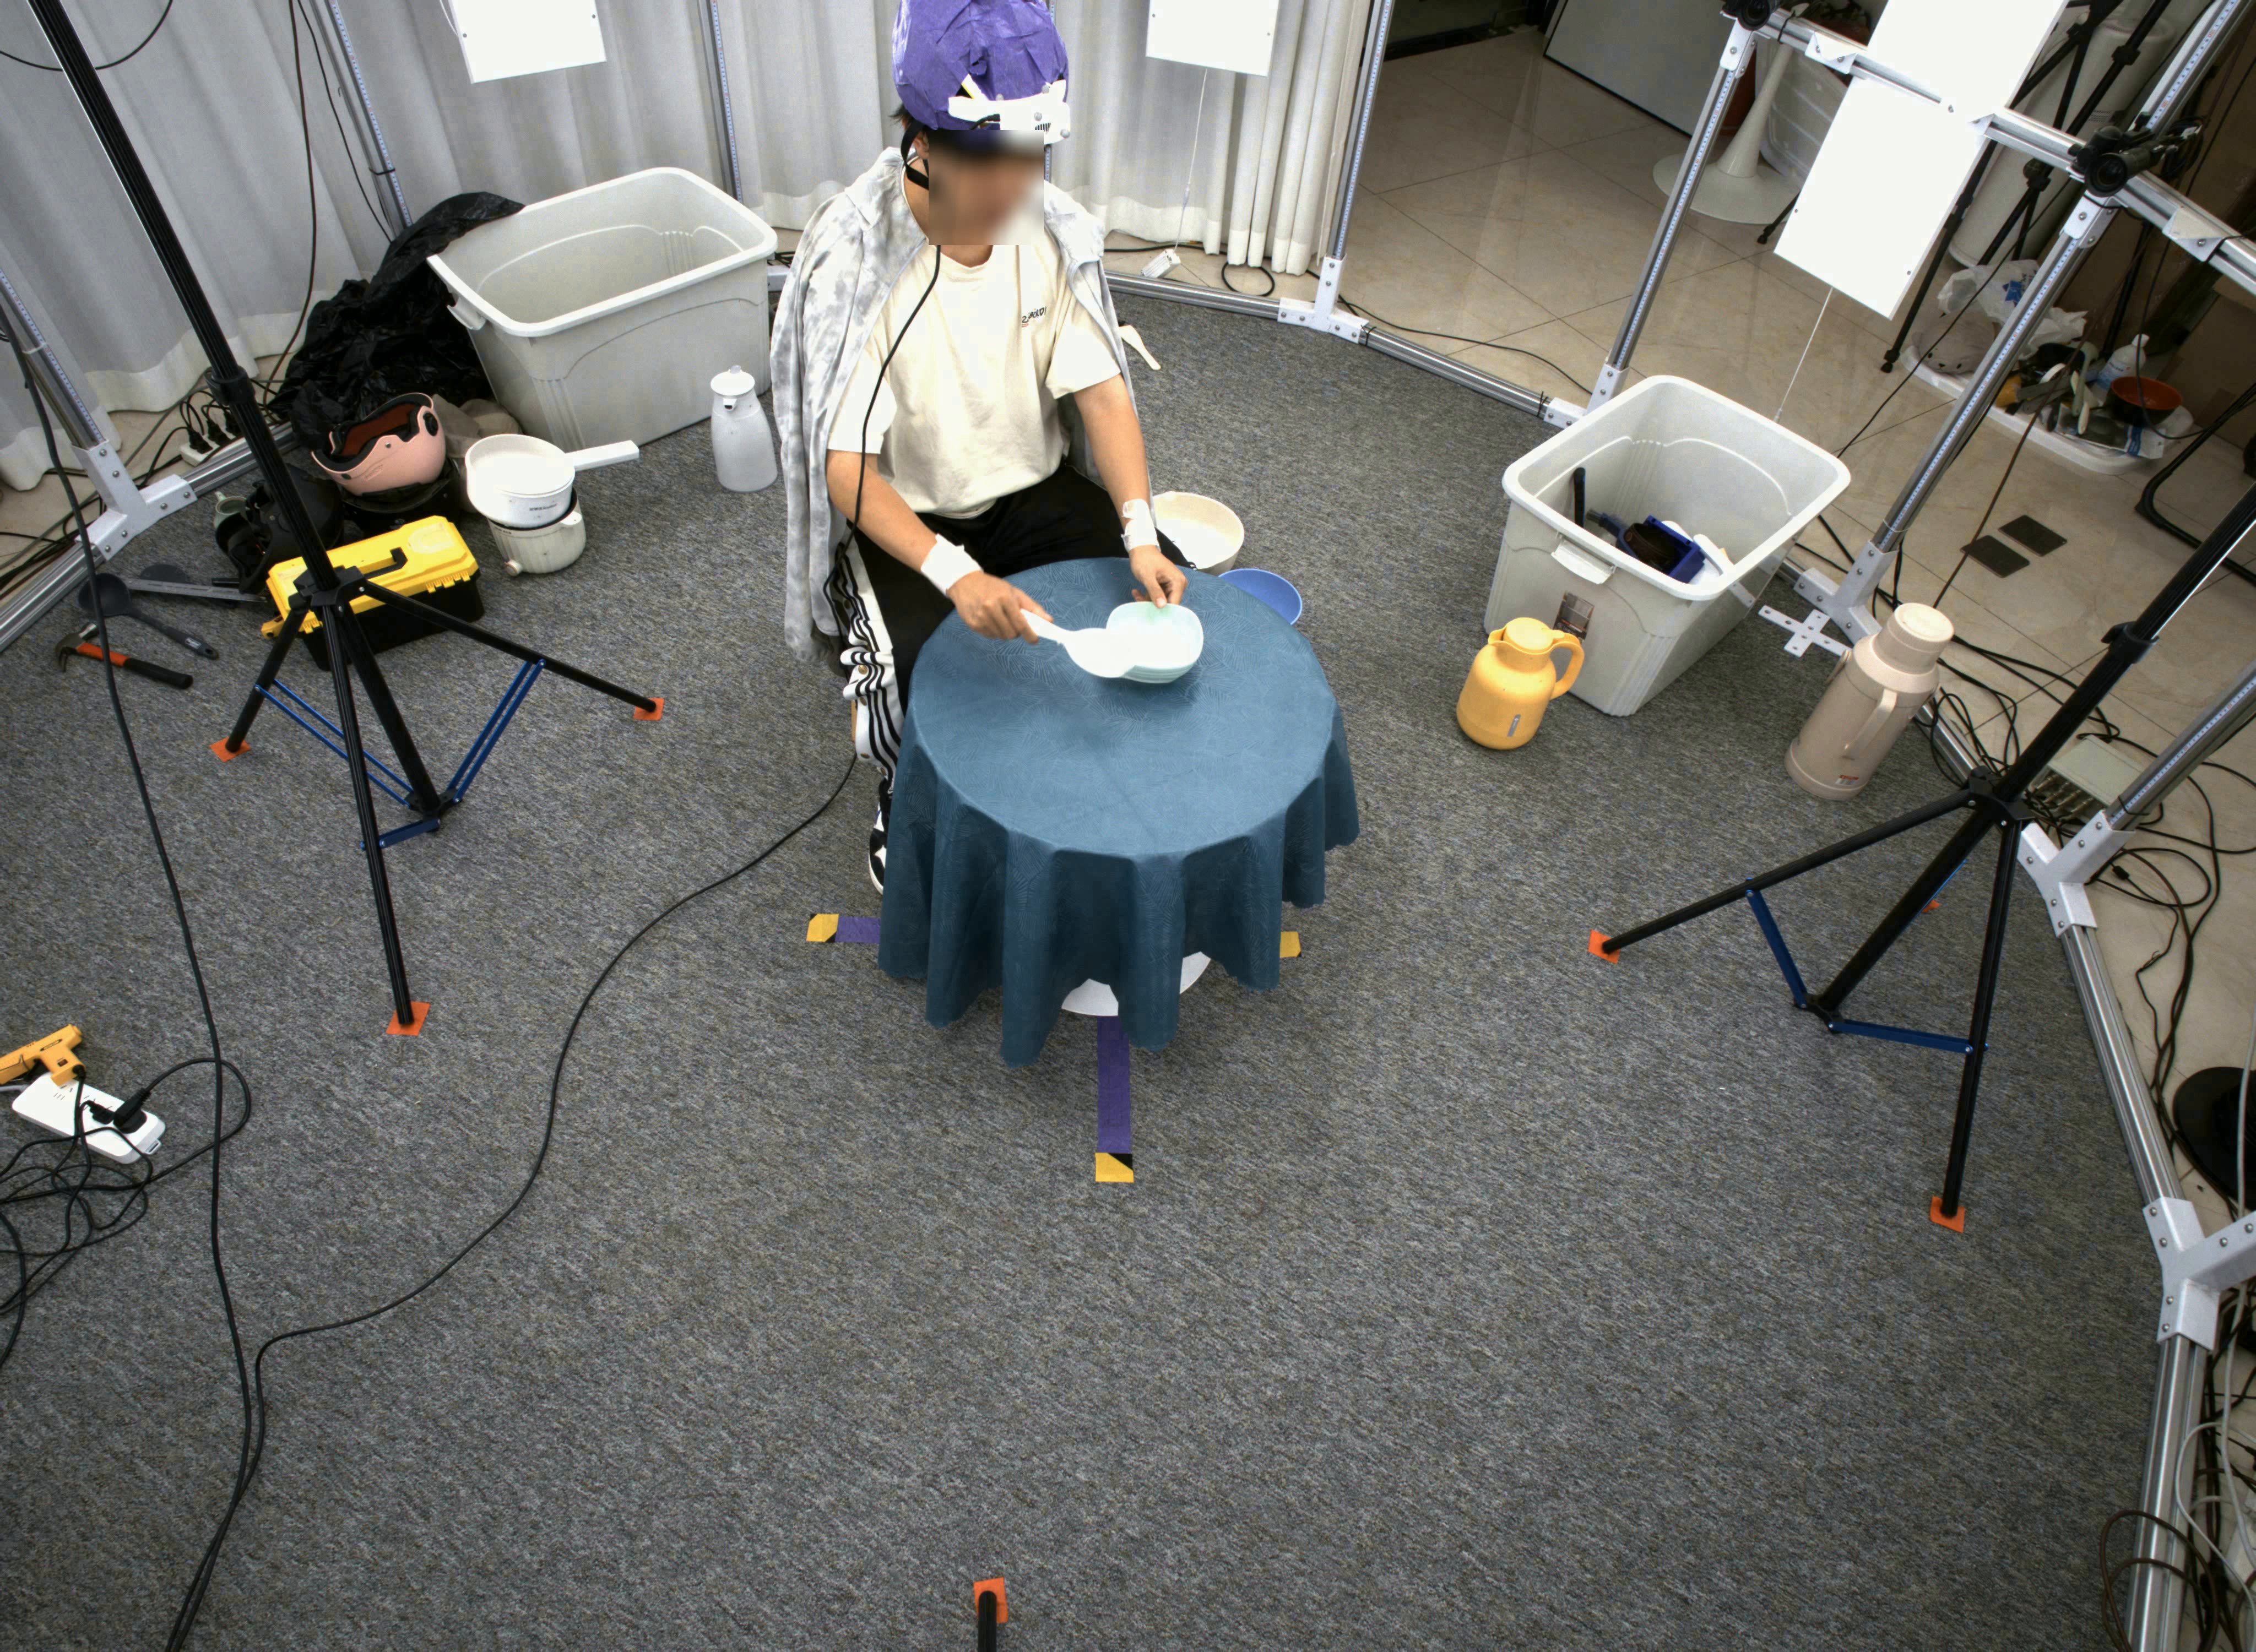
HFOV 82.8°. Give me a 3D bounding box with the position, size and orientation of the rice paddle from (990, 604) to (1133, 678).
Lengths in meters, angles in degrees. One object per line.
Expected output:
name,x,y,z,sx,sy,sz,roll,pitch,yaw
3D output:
rice paddle,-0.089,-0.254,1.746,0.206,0.029,0.070,22,66,11

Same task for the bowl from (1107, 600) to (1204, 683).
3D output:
bowl,0.037,-0.258,1.850,0.151,0.057,0.155,2,51,-2
